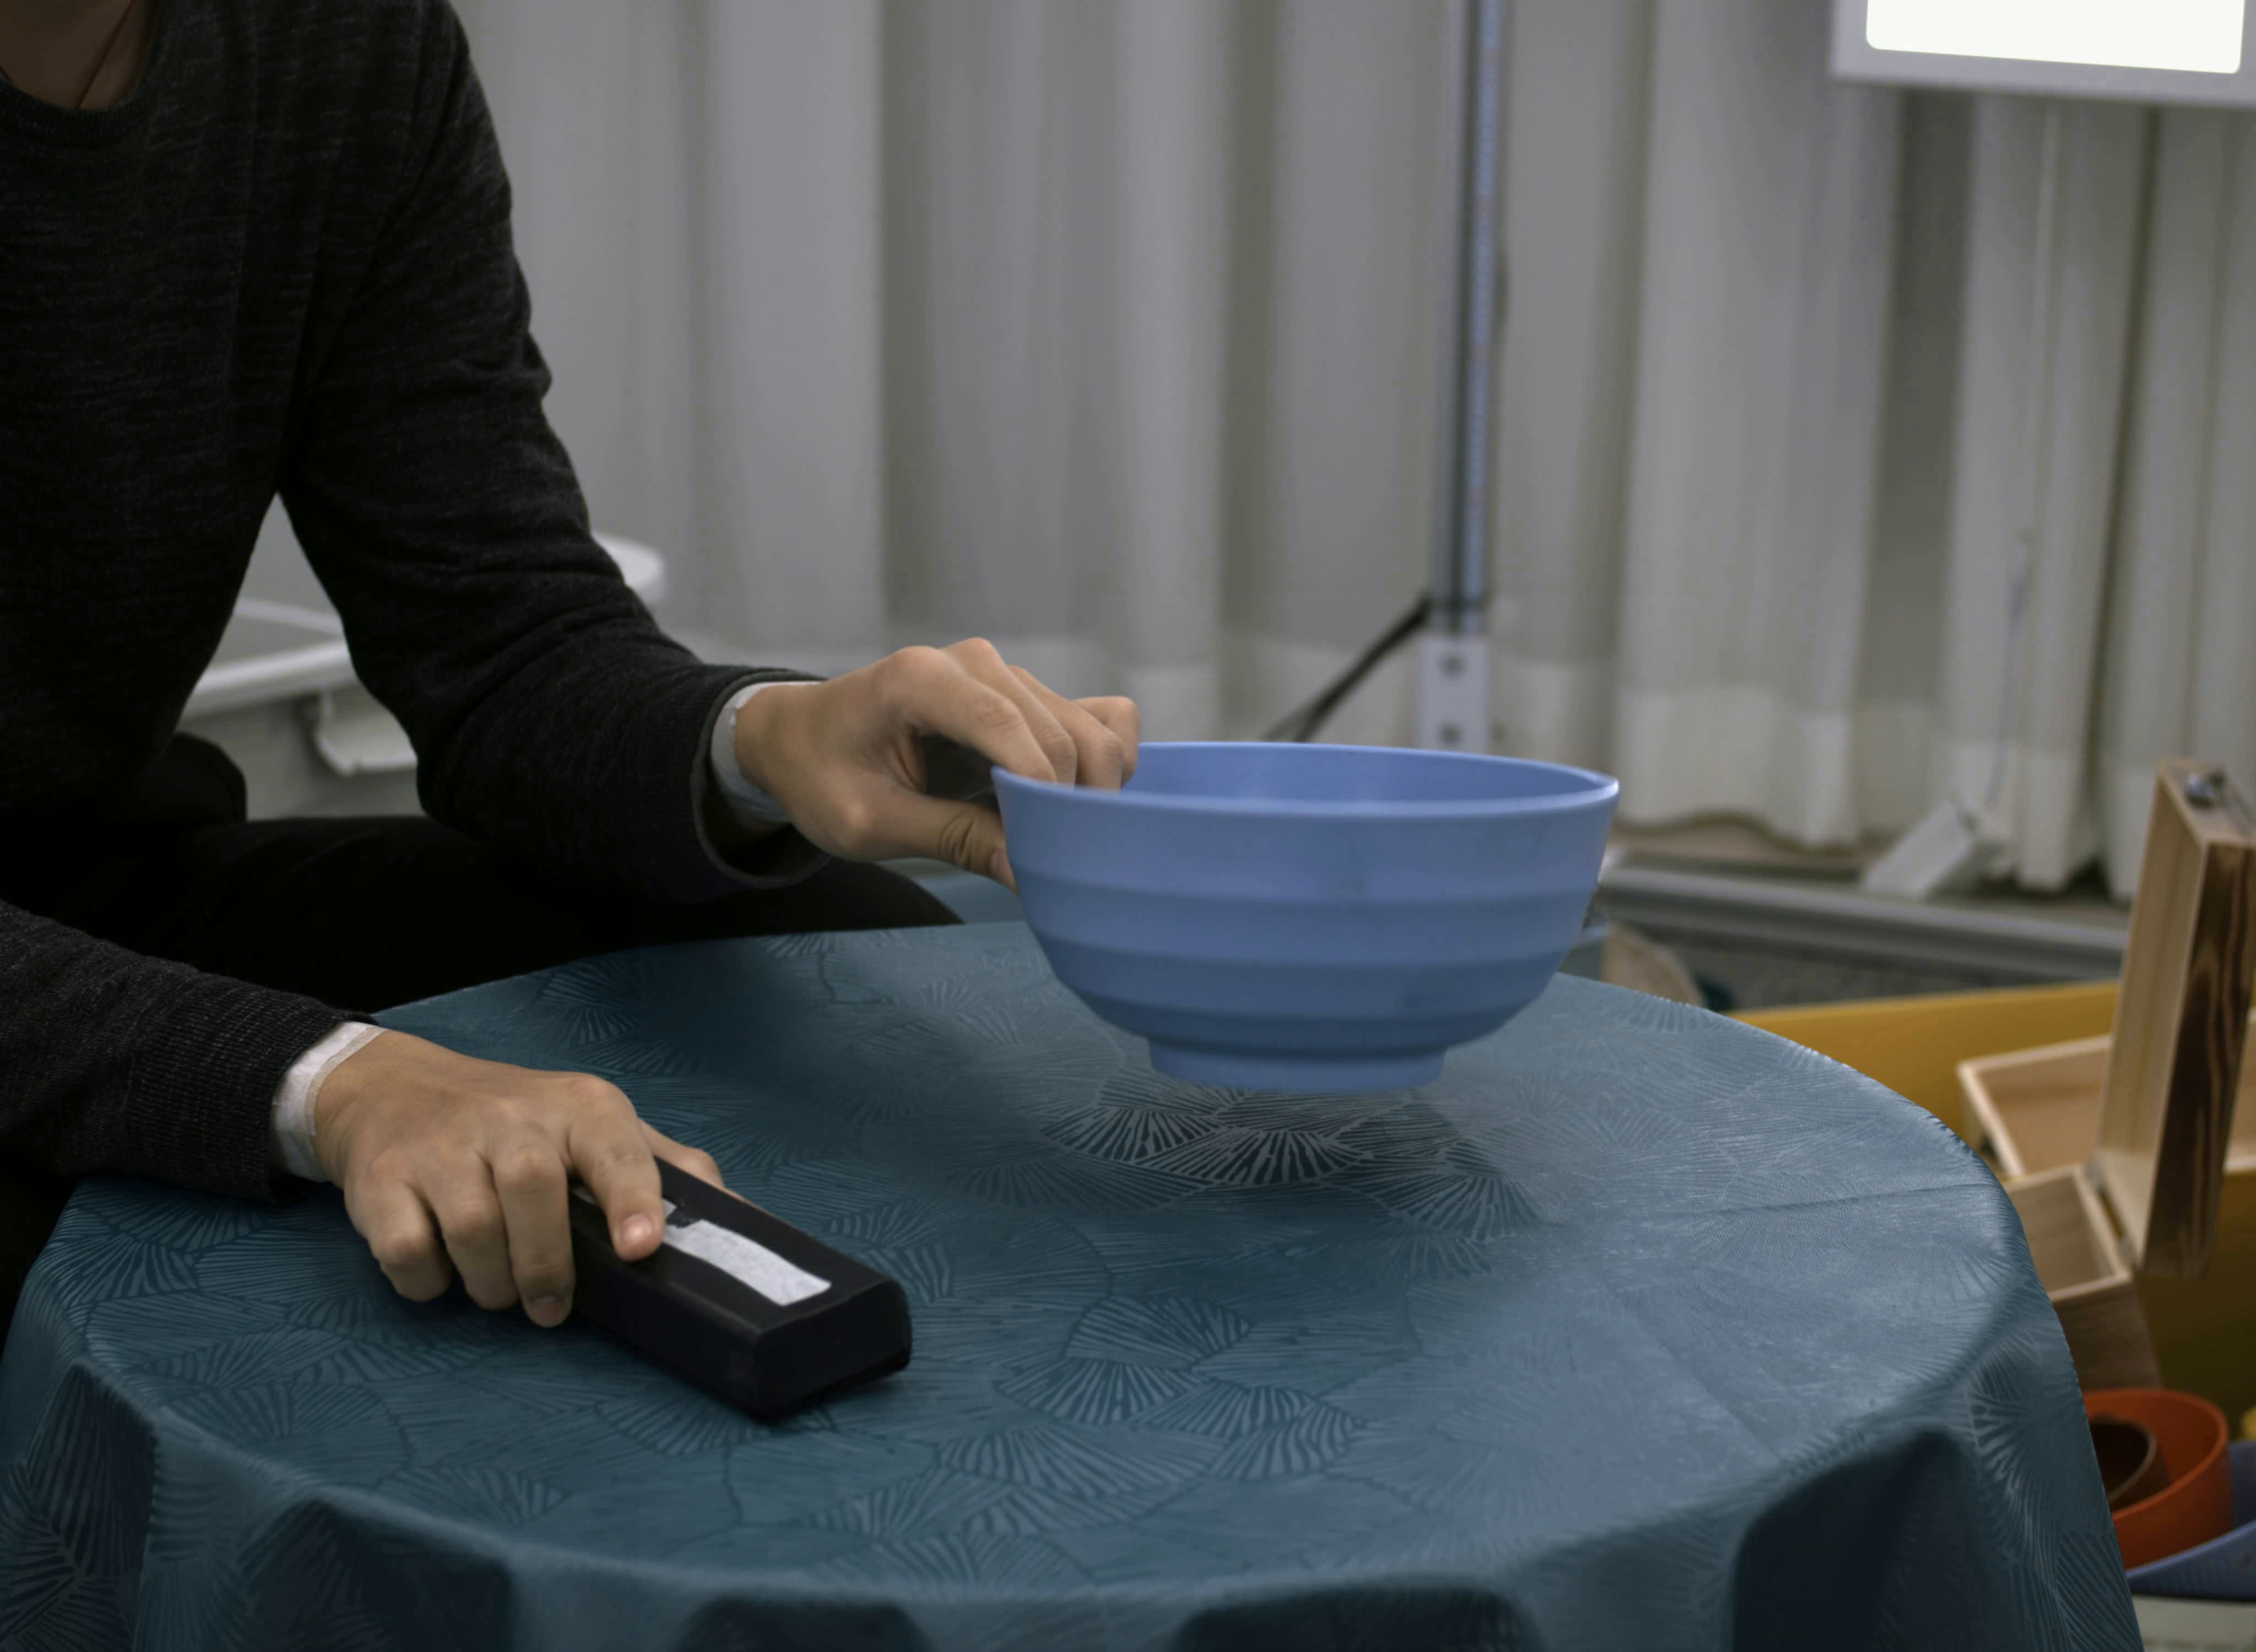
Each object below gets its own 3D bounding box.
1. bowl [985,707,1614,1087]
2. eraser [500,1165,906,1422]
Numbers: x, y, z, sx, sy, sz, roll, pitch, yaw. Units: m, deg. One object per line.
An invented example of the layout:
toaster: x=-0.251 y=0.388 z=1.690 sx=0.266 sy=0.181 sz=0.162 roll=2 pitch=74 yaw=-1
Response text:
bowl: x=0.054 y=0.025 z=1.649 sx=0.196 sy=0.096 sz=0.195 roll=0 pitch=12 yaw=1
eraser: x=-0.120 y=0.130 z=1.483 sx=0.054 sy=0.031 sz=0.124 roll=-18 pitch=26 yaw=-38
